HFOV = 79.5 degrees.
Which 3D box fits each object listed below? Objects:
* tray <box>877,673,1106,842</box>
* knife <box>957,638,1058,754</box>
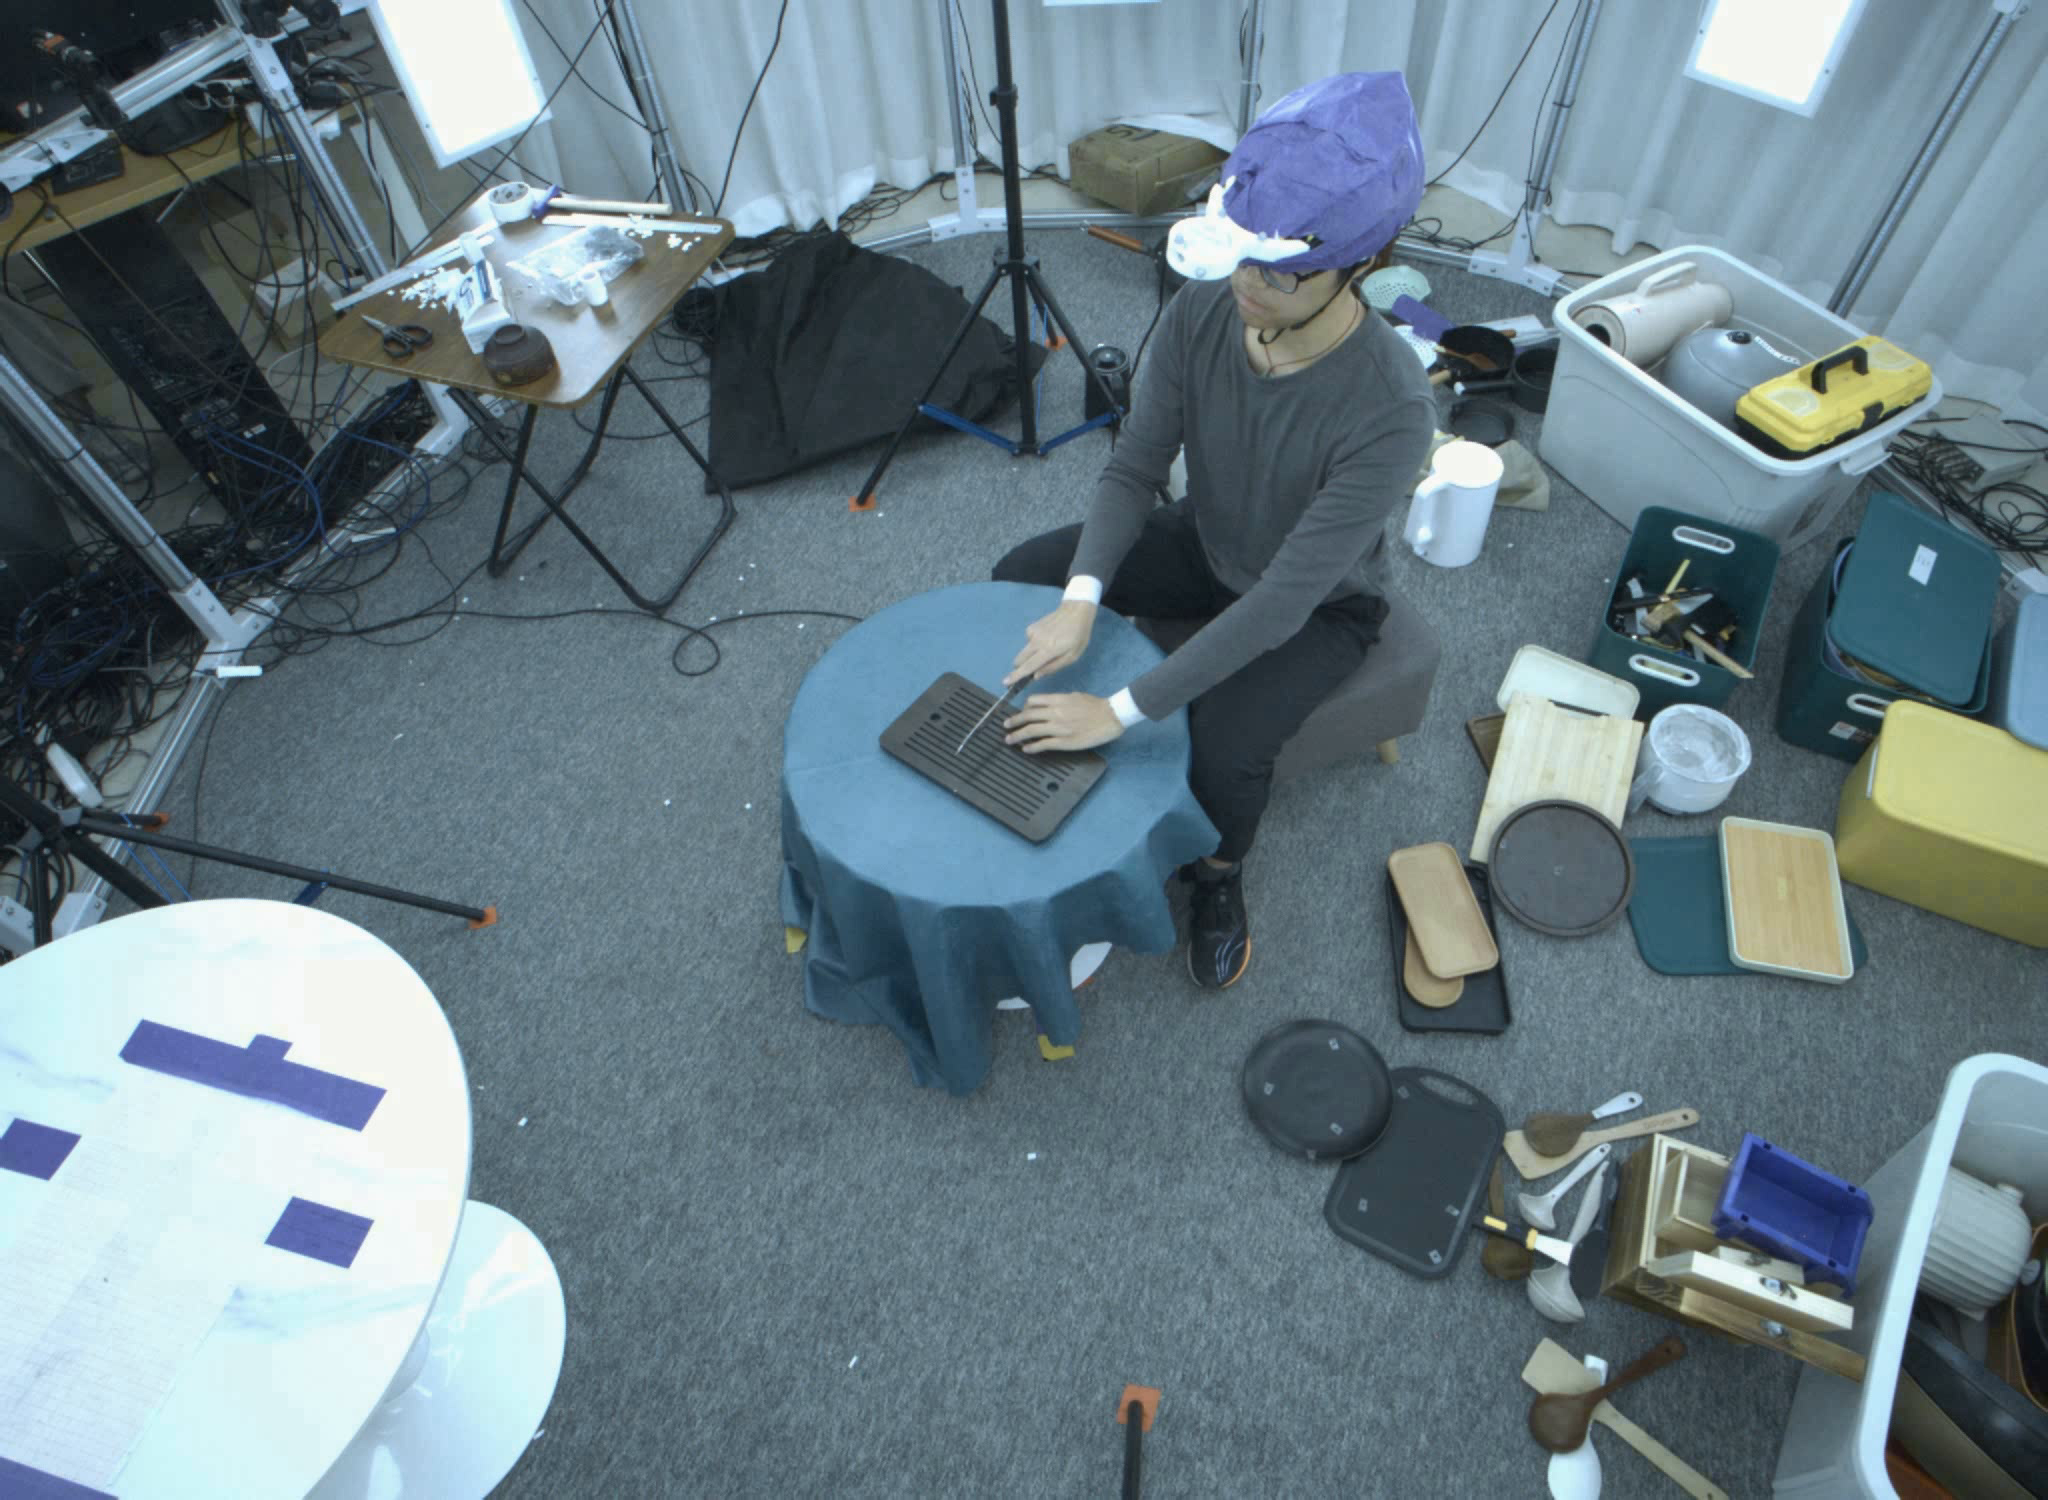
[{"bbox_3d":[-0.049,0.008,1.780,0.301,0.019,0.171,31,60,21],"label":"tray"},{"bbox_3d":[-0.025,-0.080,1.771,0.016,0.025,0.239,31,65,19],"label":"knife"}]
